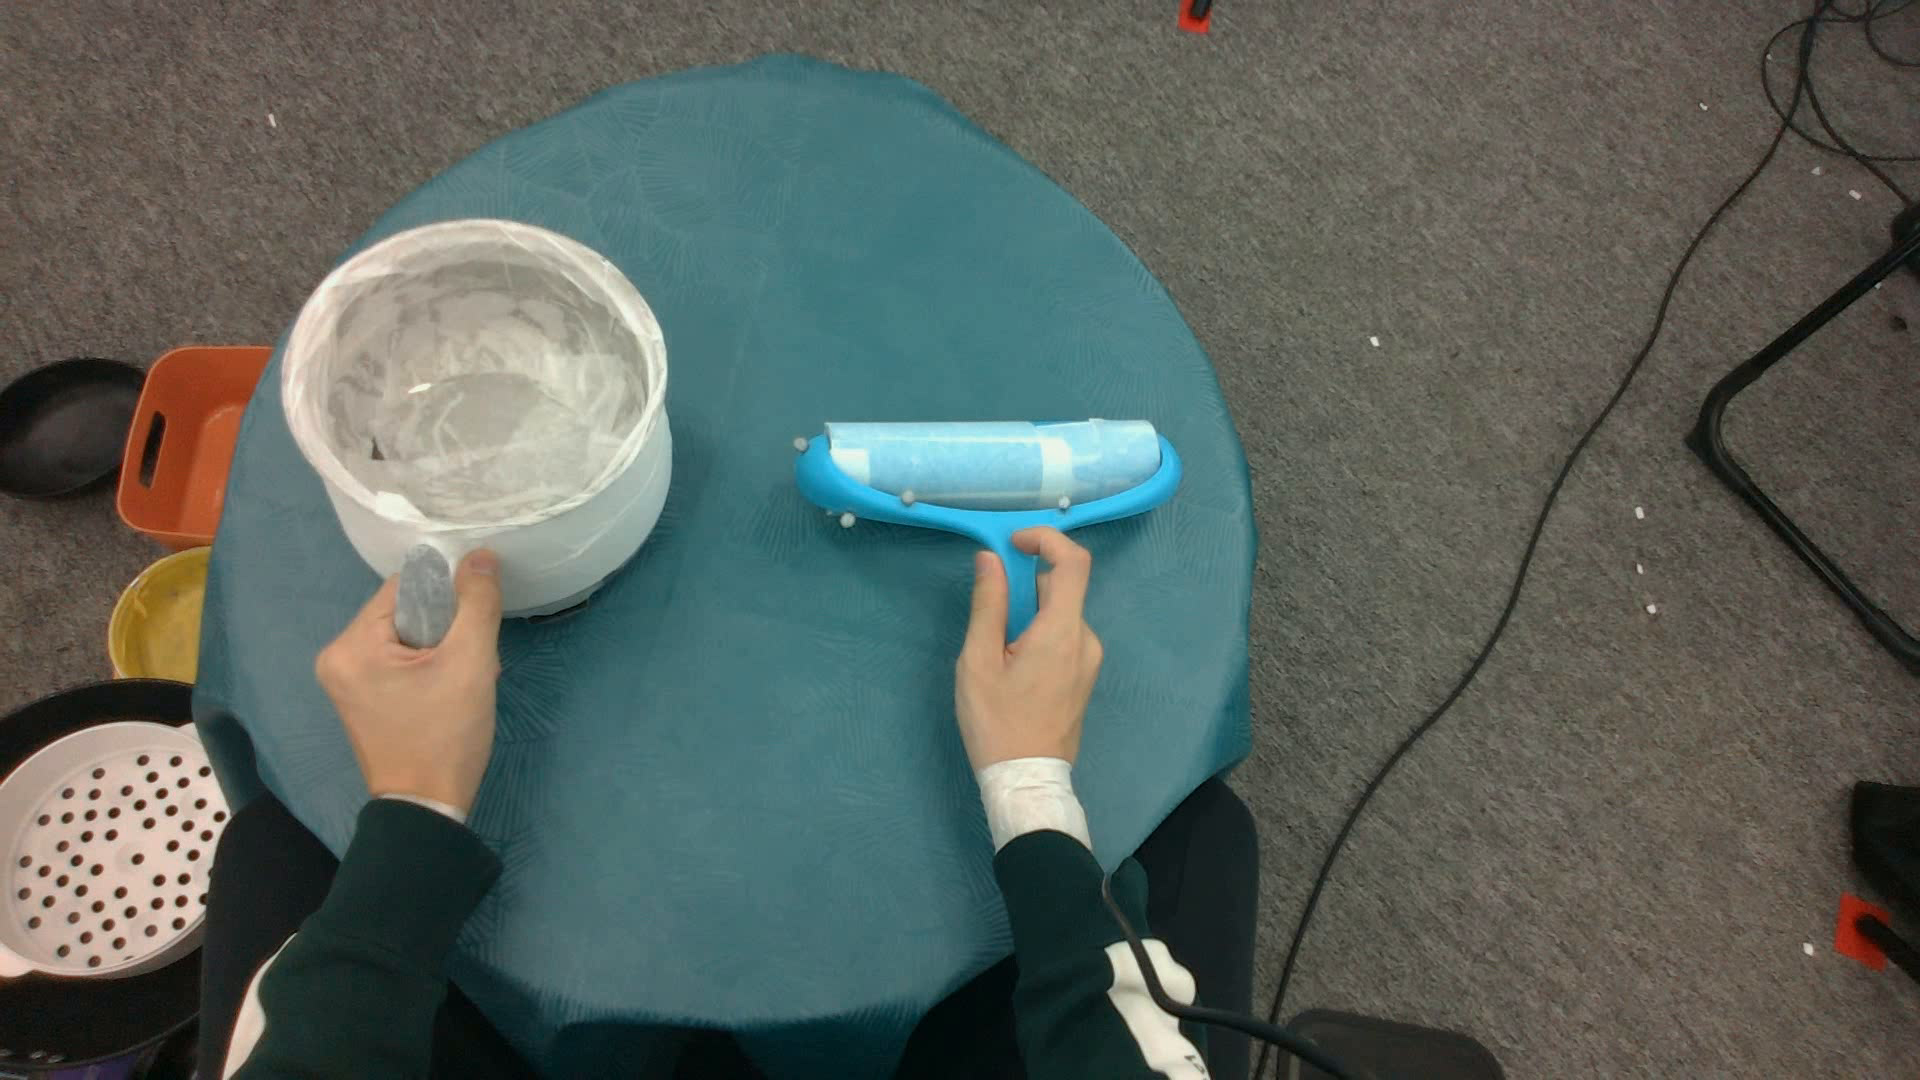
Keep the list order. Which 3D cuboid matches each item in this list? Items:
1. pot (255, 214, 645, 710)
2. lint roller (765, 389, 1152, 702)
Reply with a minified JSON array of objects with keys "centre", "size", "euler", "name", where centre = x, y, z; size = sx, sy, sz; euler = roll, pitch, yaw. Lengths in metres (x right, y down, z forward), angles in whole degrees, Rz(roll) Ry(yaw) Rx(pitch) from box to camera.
[{"centre":[-0.258,-0.036,0.712],"size":[0.179,0.136,0.234],"euler":[7,63,-8],"name":"pot"},{"centre":[0.015,-0.004,0.778],"size":[0.229,0.067,0.181],"euler":[-6,65,-17],"name":"lint roller"}]
